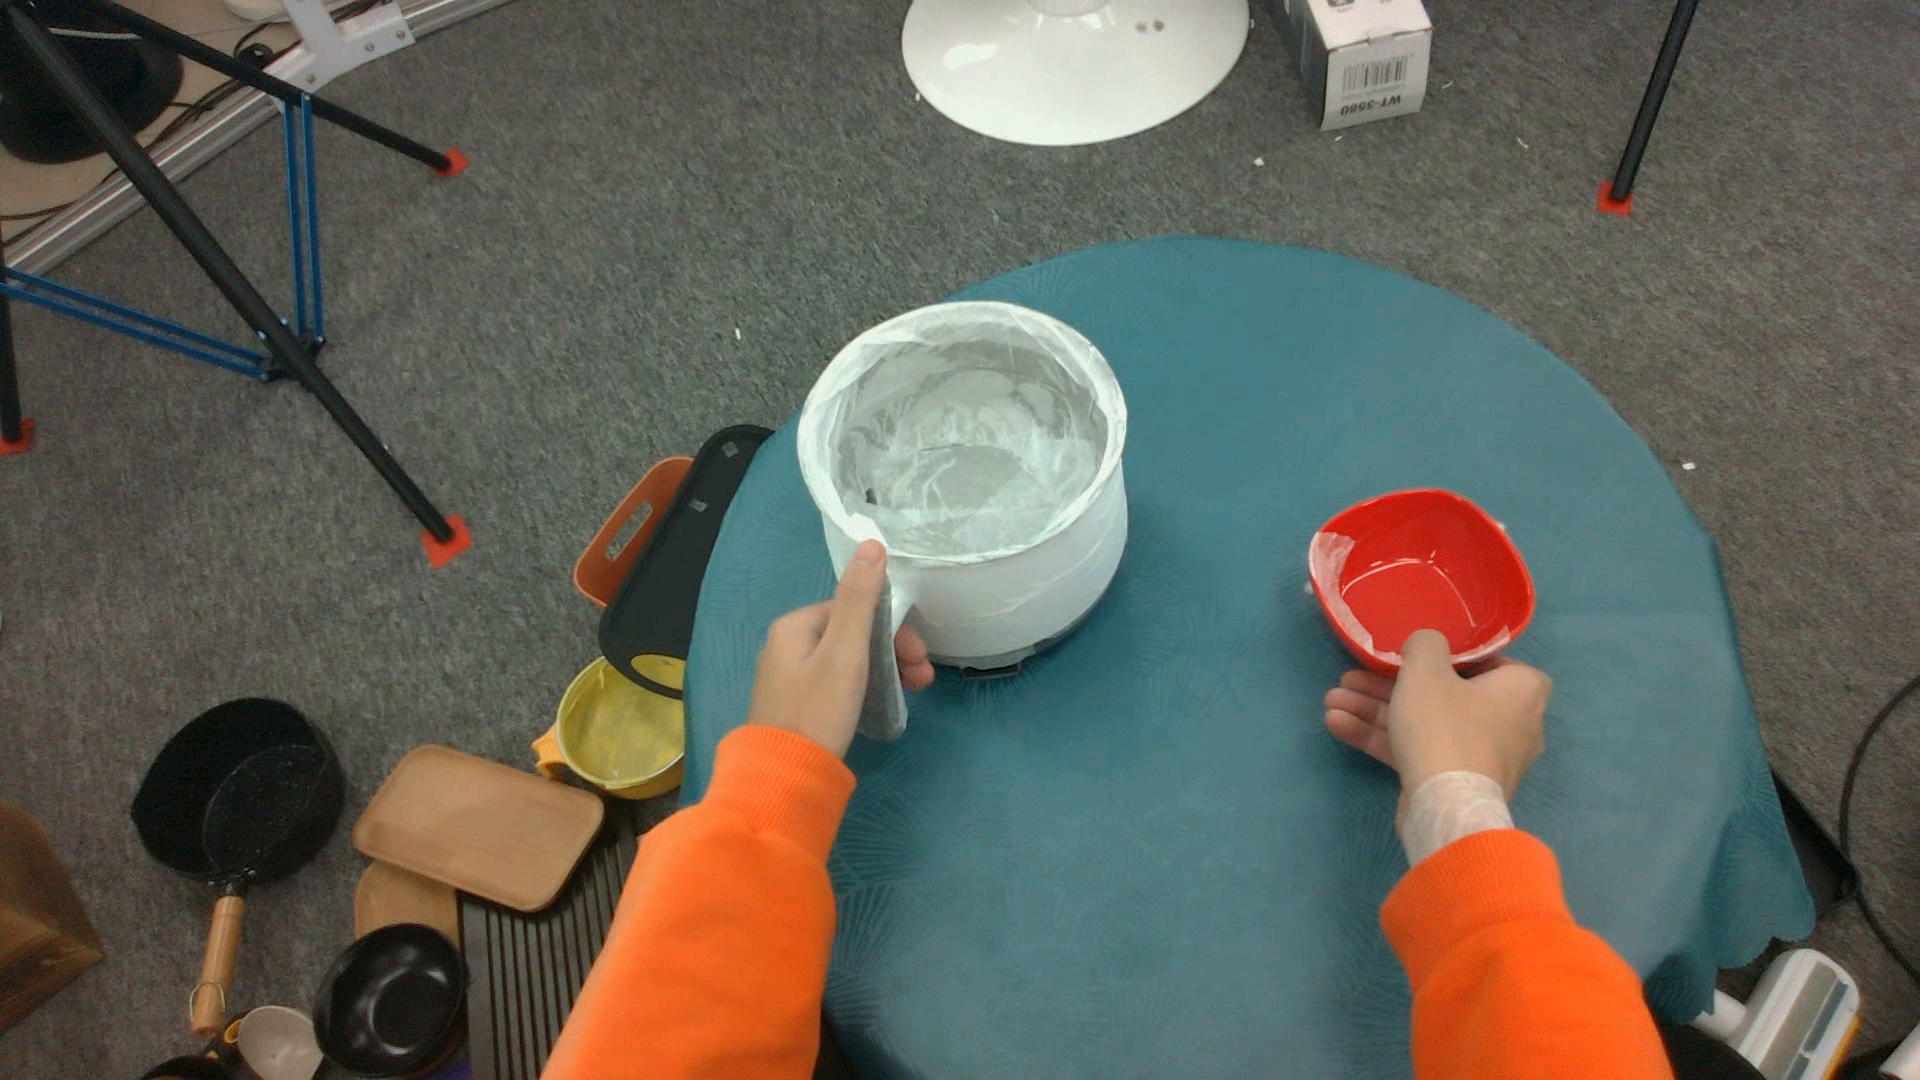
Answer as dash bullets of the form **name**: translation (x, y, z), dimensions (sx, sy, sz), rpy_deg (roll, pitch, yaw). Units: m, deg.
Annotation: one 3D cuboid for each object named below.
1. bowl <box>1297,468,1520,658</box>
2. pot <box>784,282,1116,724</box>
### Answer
- **bowl**: translation (0.246, 0.021, 0.770), dimensions (0.119, 0.051, 0.119), rpy_deg (-3, 56, 4)
- **pot**: translation (-0.011, -0.016, 0.772), dimensions (0.178, 0.136, 0.235), rpy_deg (17, 61, 17)
